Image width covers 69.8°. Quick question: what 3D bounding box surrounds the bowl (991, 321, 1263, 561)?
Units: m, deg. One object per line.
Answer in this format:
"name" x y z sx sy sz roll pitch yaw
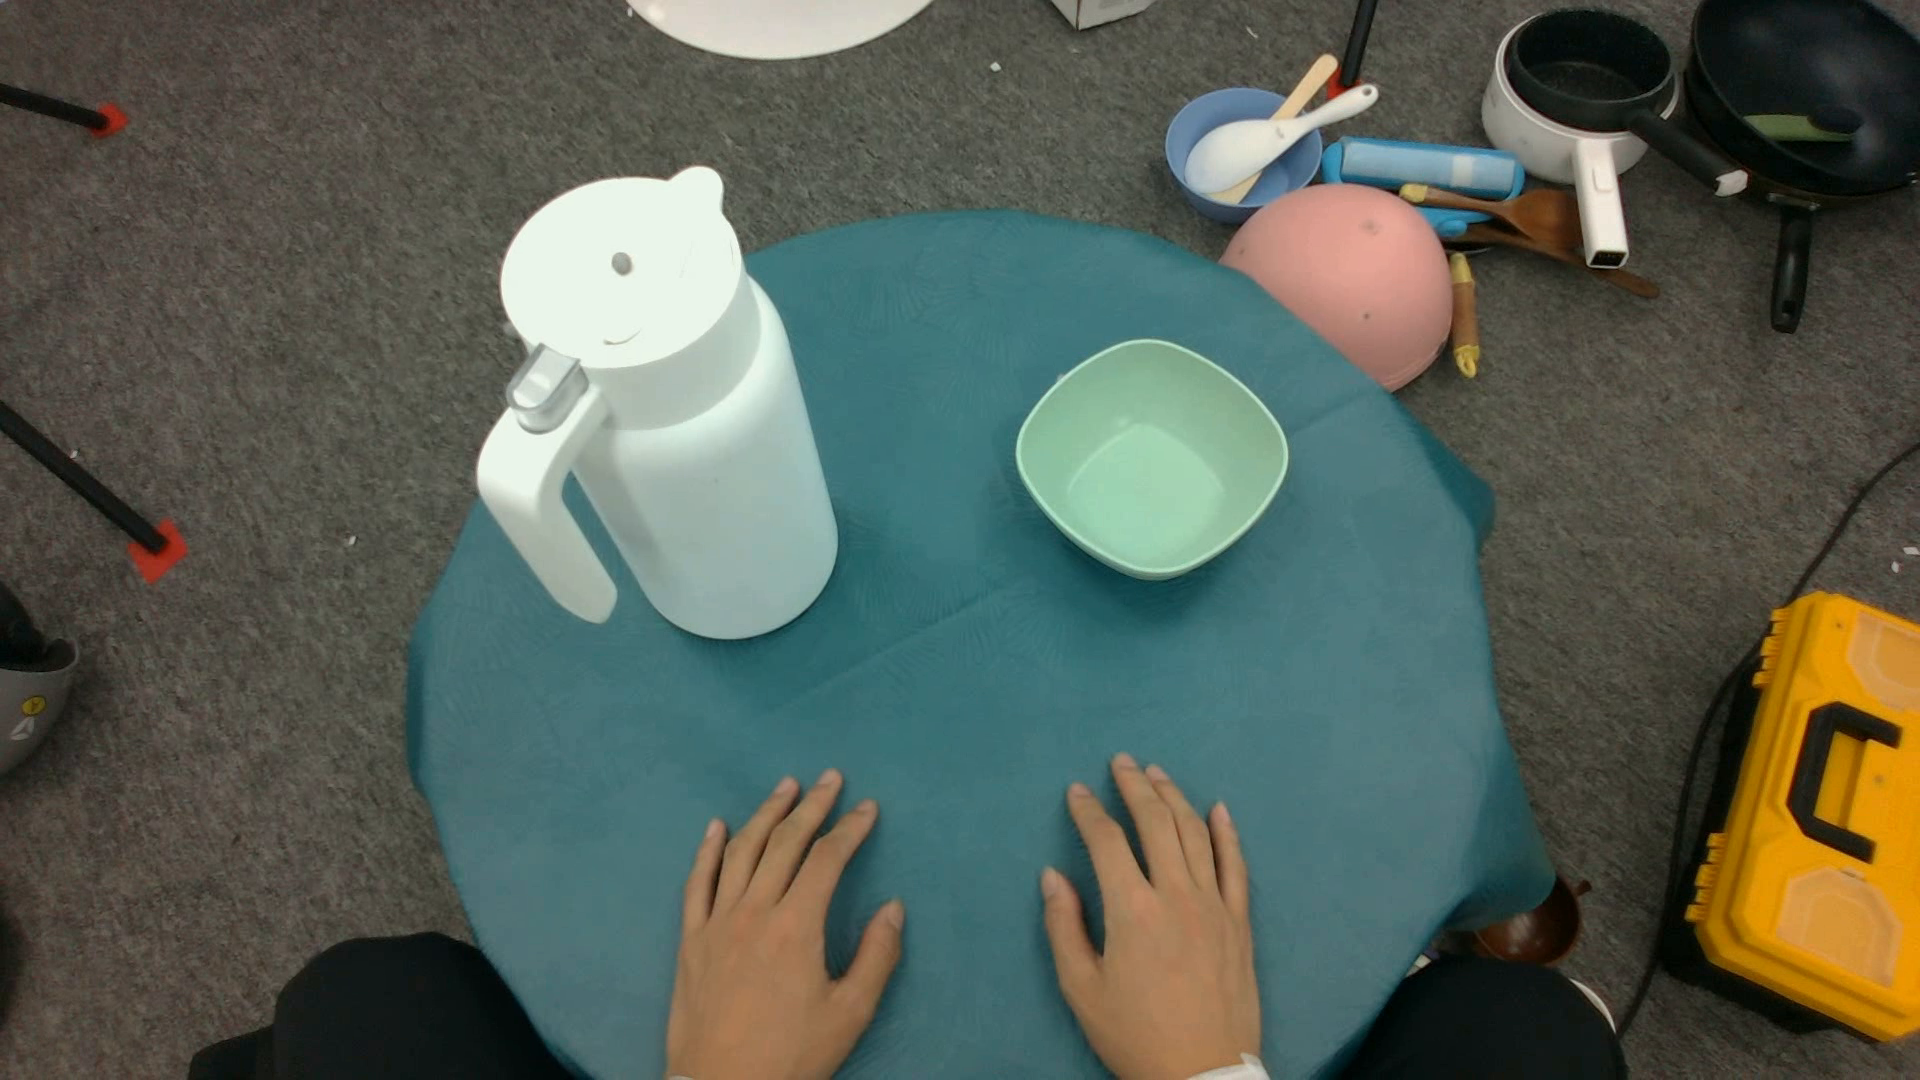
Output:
"bowl" 0.093 -0.048 0.791 0.151 0.058 0.152 -1 63 1

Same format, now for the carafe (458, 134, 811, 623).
"carafe" -0.152 -0.047 0.676 0.124 0.268 0.173 21 66 9
